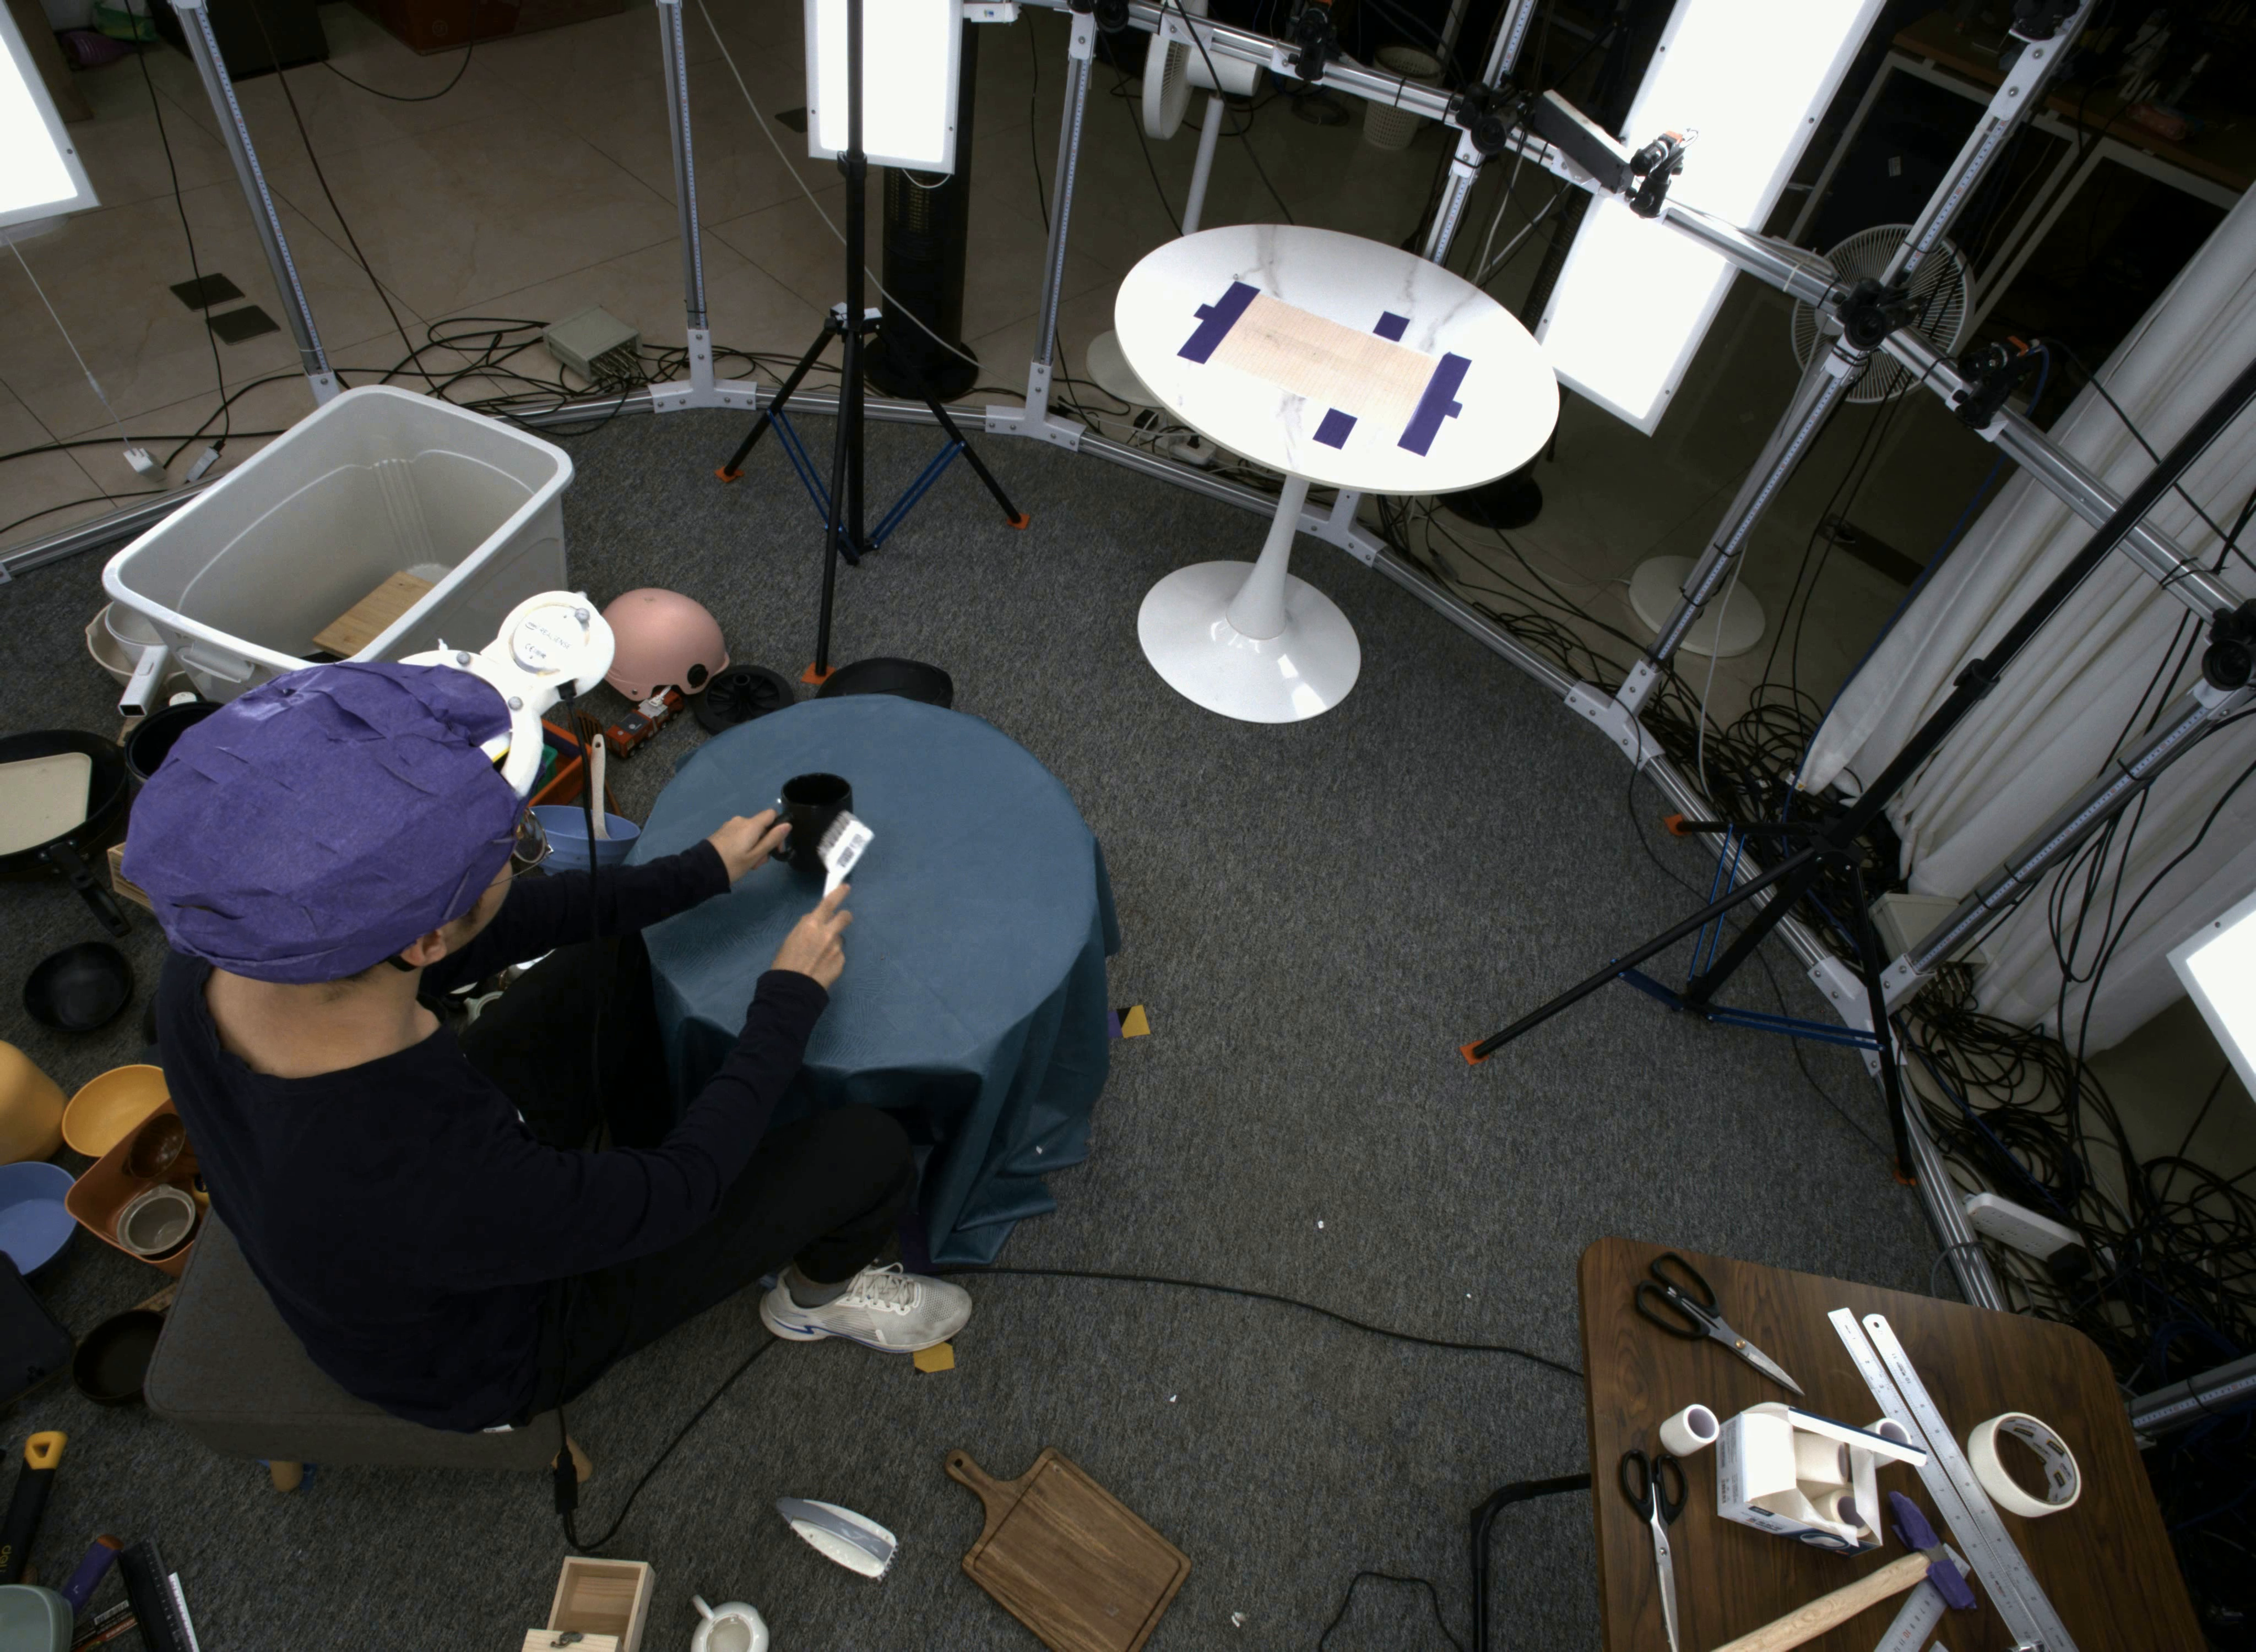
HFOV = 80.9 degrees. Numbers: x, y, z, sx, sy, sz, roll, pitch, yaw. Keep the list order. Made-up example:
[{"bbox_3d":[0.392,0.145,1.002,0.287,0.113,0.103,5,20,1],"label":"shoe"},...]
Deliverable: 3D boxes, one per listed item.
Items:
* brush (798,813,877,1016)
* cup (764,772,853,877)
[{"bbox_3d":[-0.360,0.102,1.543,0.048,0.035,0.244,12,77,26],"label":"brush"},{"bbox_3d":[-0.407,0.003,1.641,0.085,0.108,0.124,30,41,30],"label":"cup"}]
